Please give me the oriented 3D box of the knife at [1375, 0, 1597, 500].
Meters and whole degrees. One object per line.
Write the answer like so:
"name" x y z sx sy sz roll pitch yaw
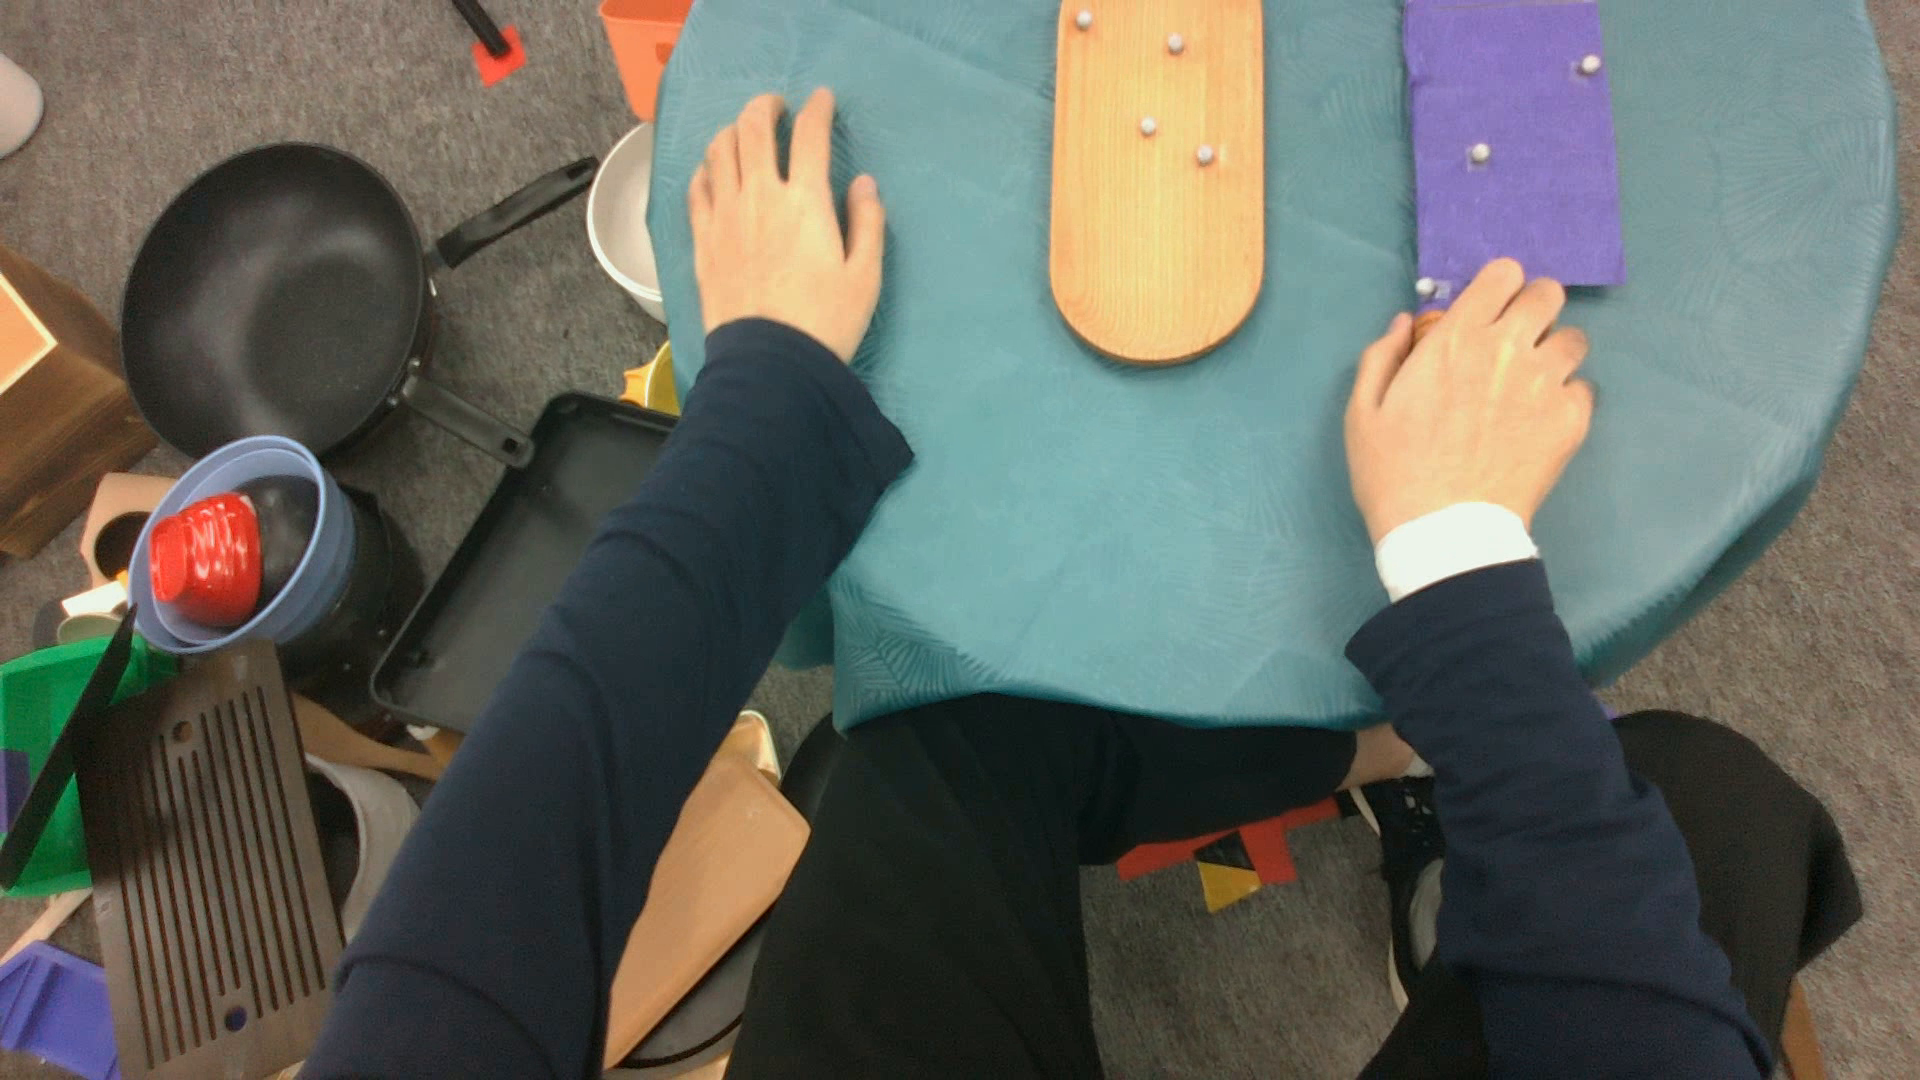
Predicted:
"knife" 0.245 -0.171 0.642 0.104 0.032 0.316 0 72 7

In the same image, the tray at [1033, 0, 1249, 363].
"tray" 0.087 -0.194 0.674 0.101 0.020 0.231 -2 75 8
